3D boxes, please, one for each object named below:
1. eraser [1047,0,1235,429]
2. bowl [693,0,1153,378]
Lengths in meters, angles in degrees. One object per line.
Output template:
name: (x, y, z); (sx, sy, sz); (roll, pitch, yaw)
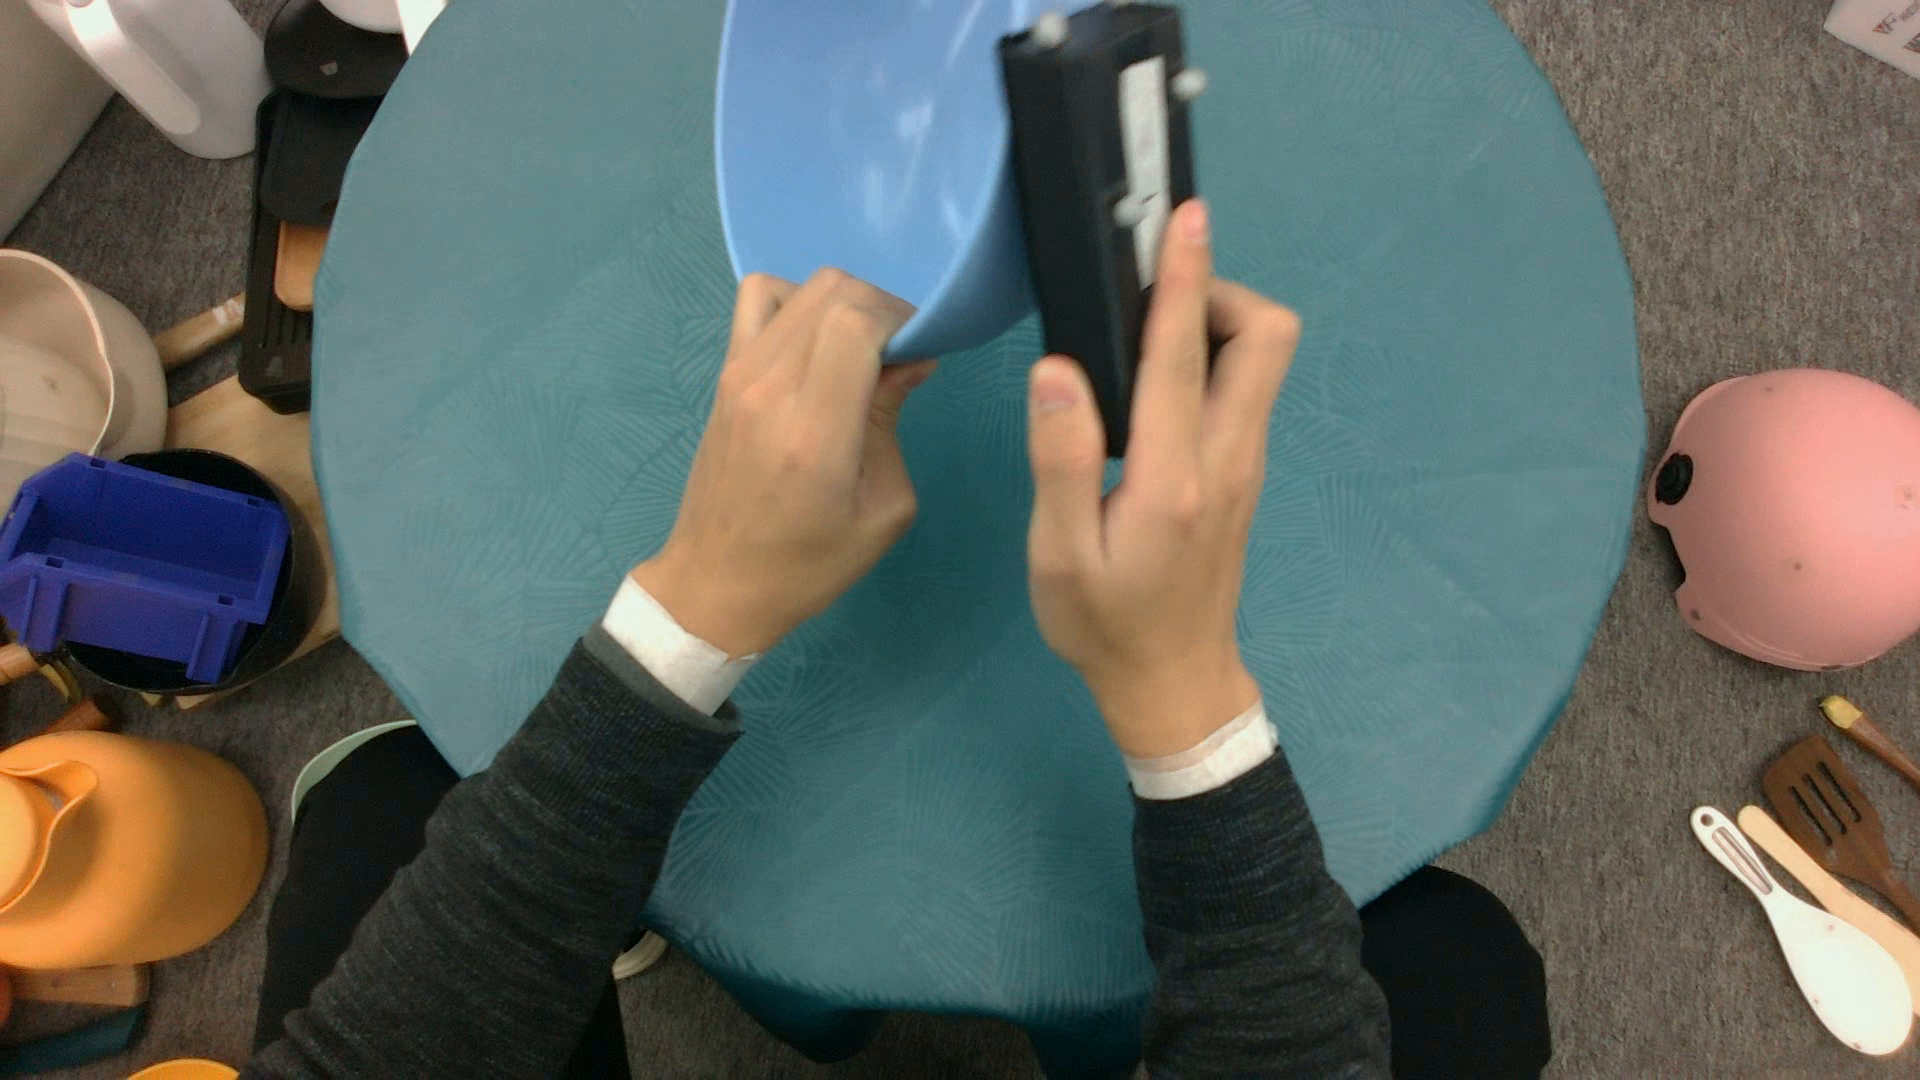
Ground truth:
eraser: (0.055, -0.099, 0.402); (0.030, 0.125, 0.054); (22, 42, 39)
bowl: (-0.002, -0.151, 0.485); (0.095, 0.195, 0.197); (1, 72, -44)
